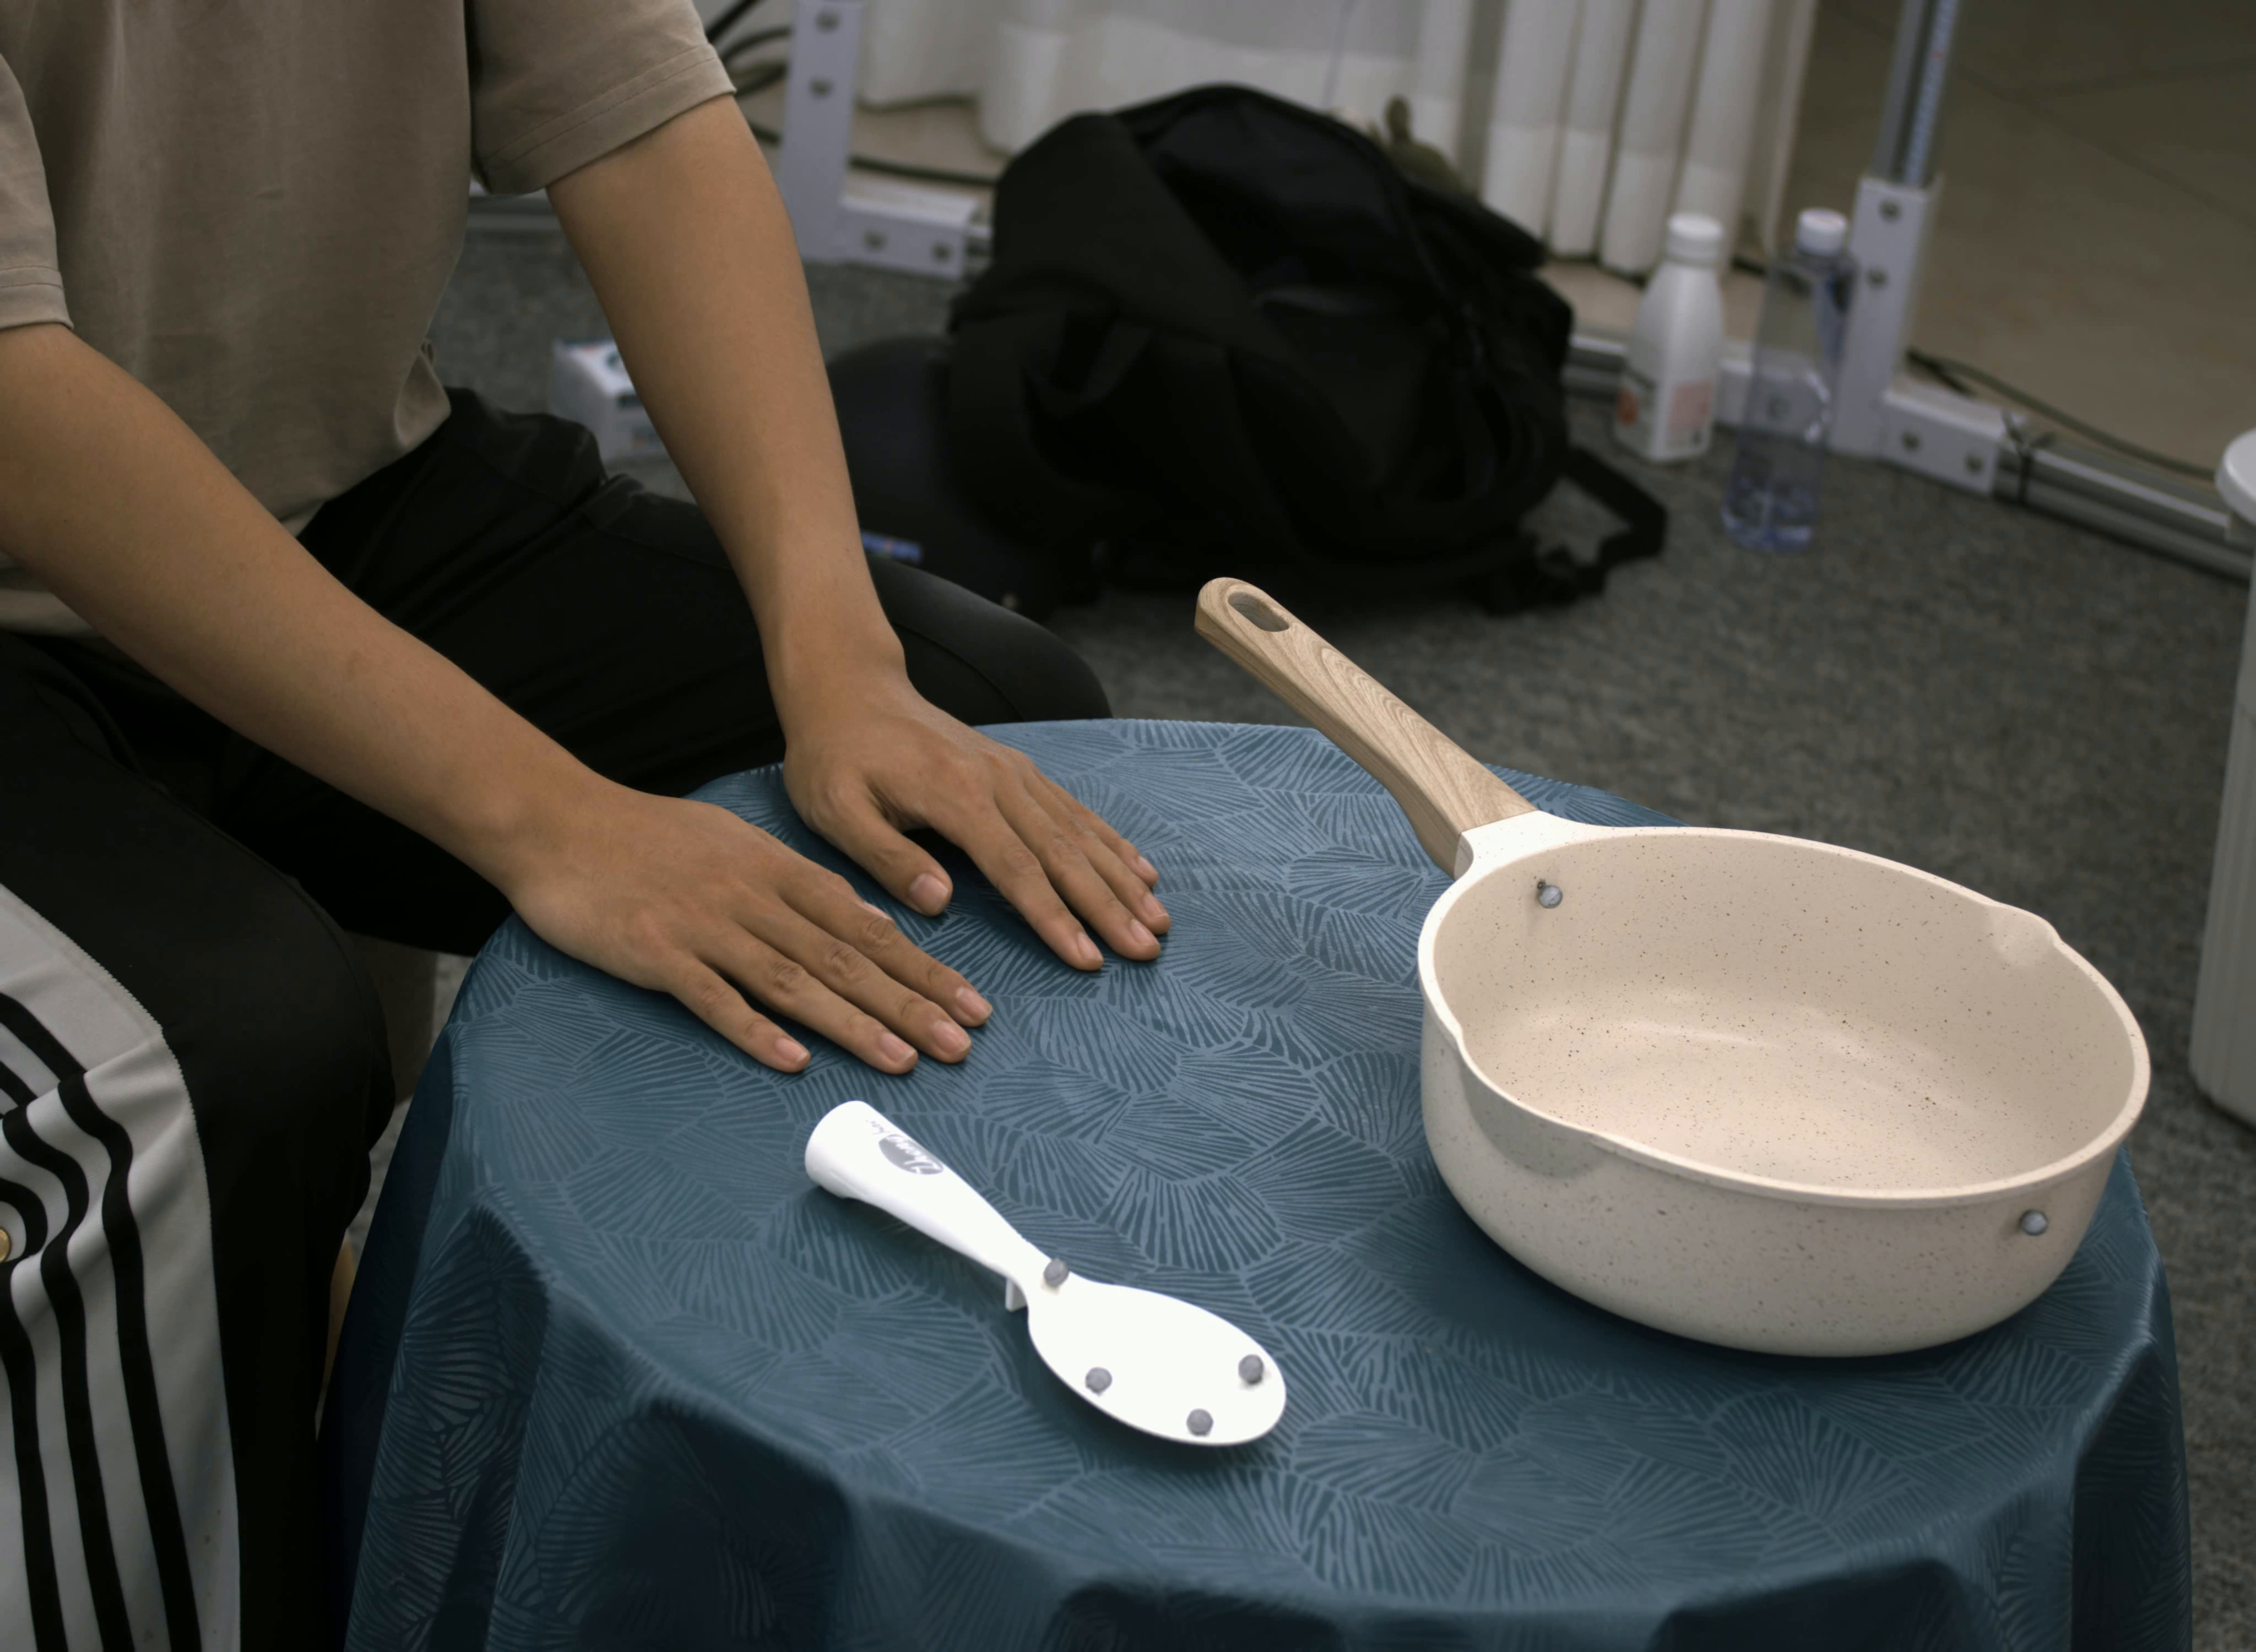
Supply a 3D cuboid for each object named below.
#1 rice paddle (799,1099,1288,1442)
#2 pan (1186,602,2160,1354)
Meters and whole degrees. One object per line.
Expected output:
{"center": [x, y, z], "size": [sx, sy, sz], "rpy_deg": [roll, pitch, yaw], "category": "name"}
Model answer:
{"center": [-0.028, 0.145, 1.721], "size": [0.068, 0.029, 0.207], "rpy_deg": [-21, 38, -39], "category": "rice paddle"}
{"center": [0.165, 0.049, 1.887], "size": [0.262, 0.101, 0.438], "rpy_deg": [-17, 35, -36], "category": "pan"}
